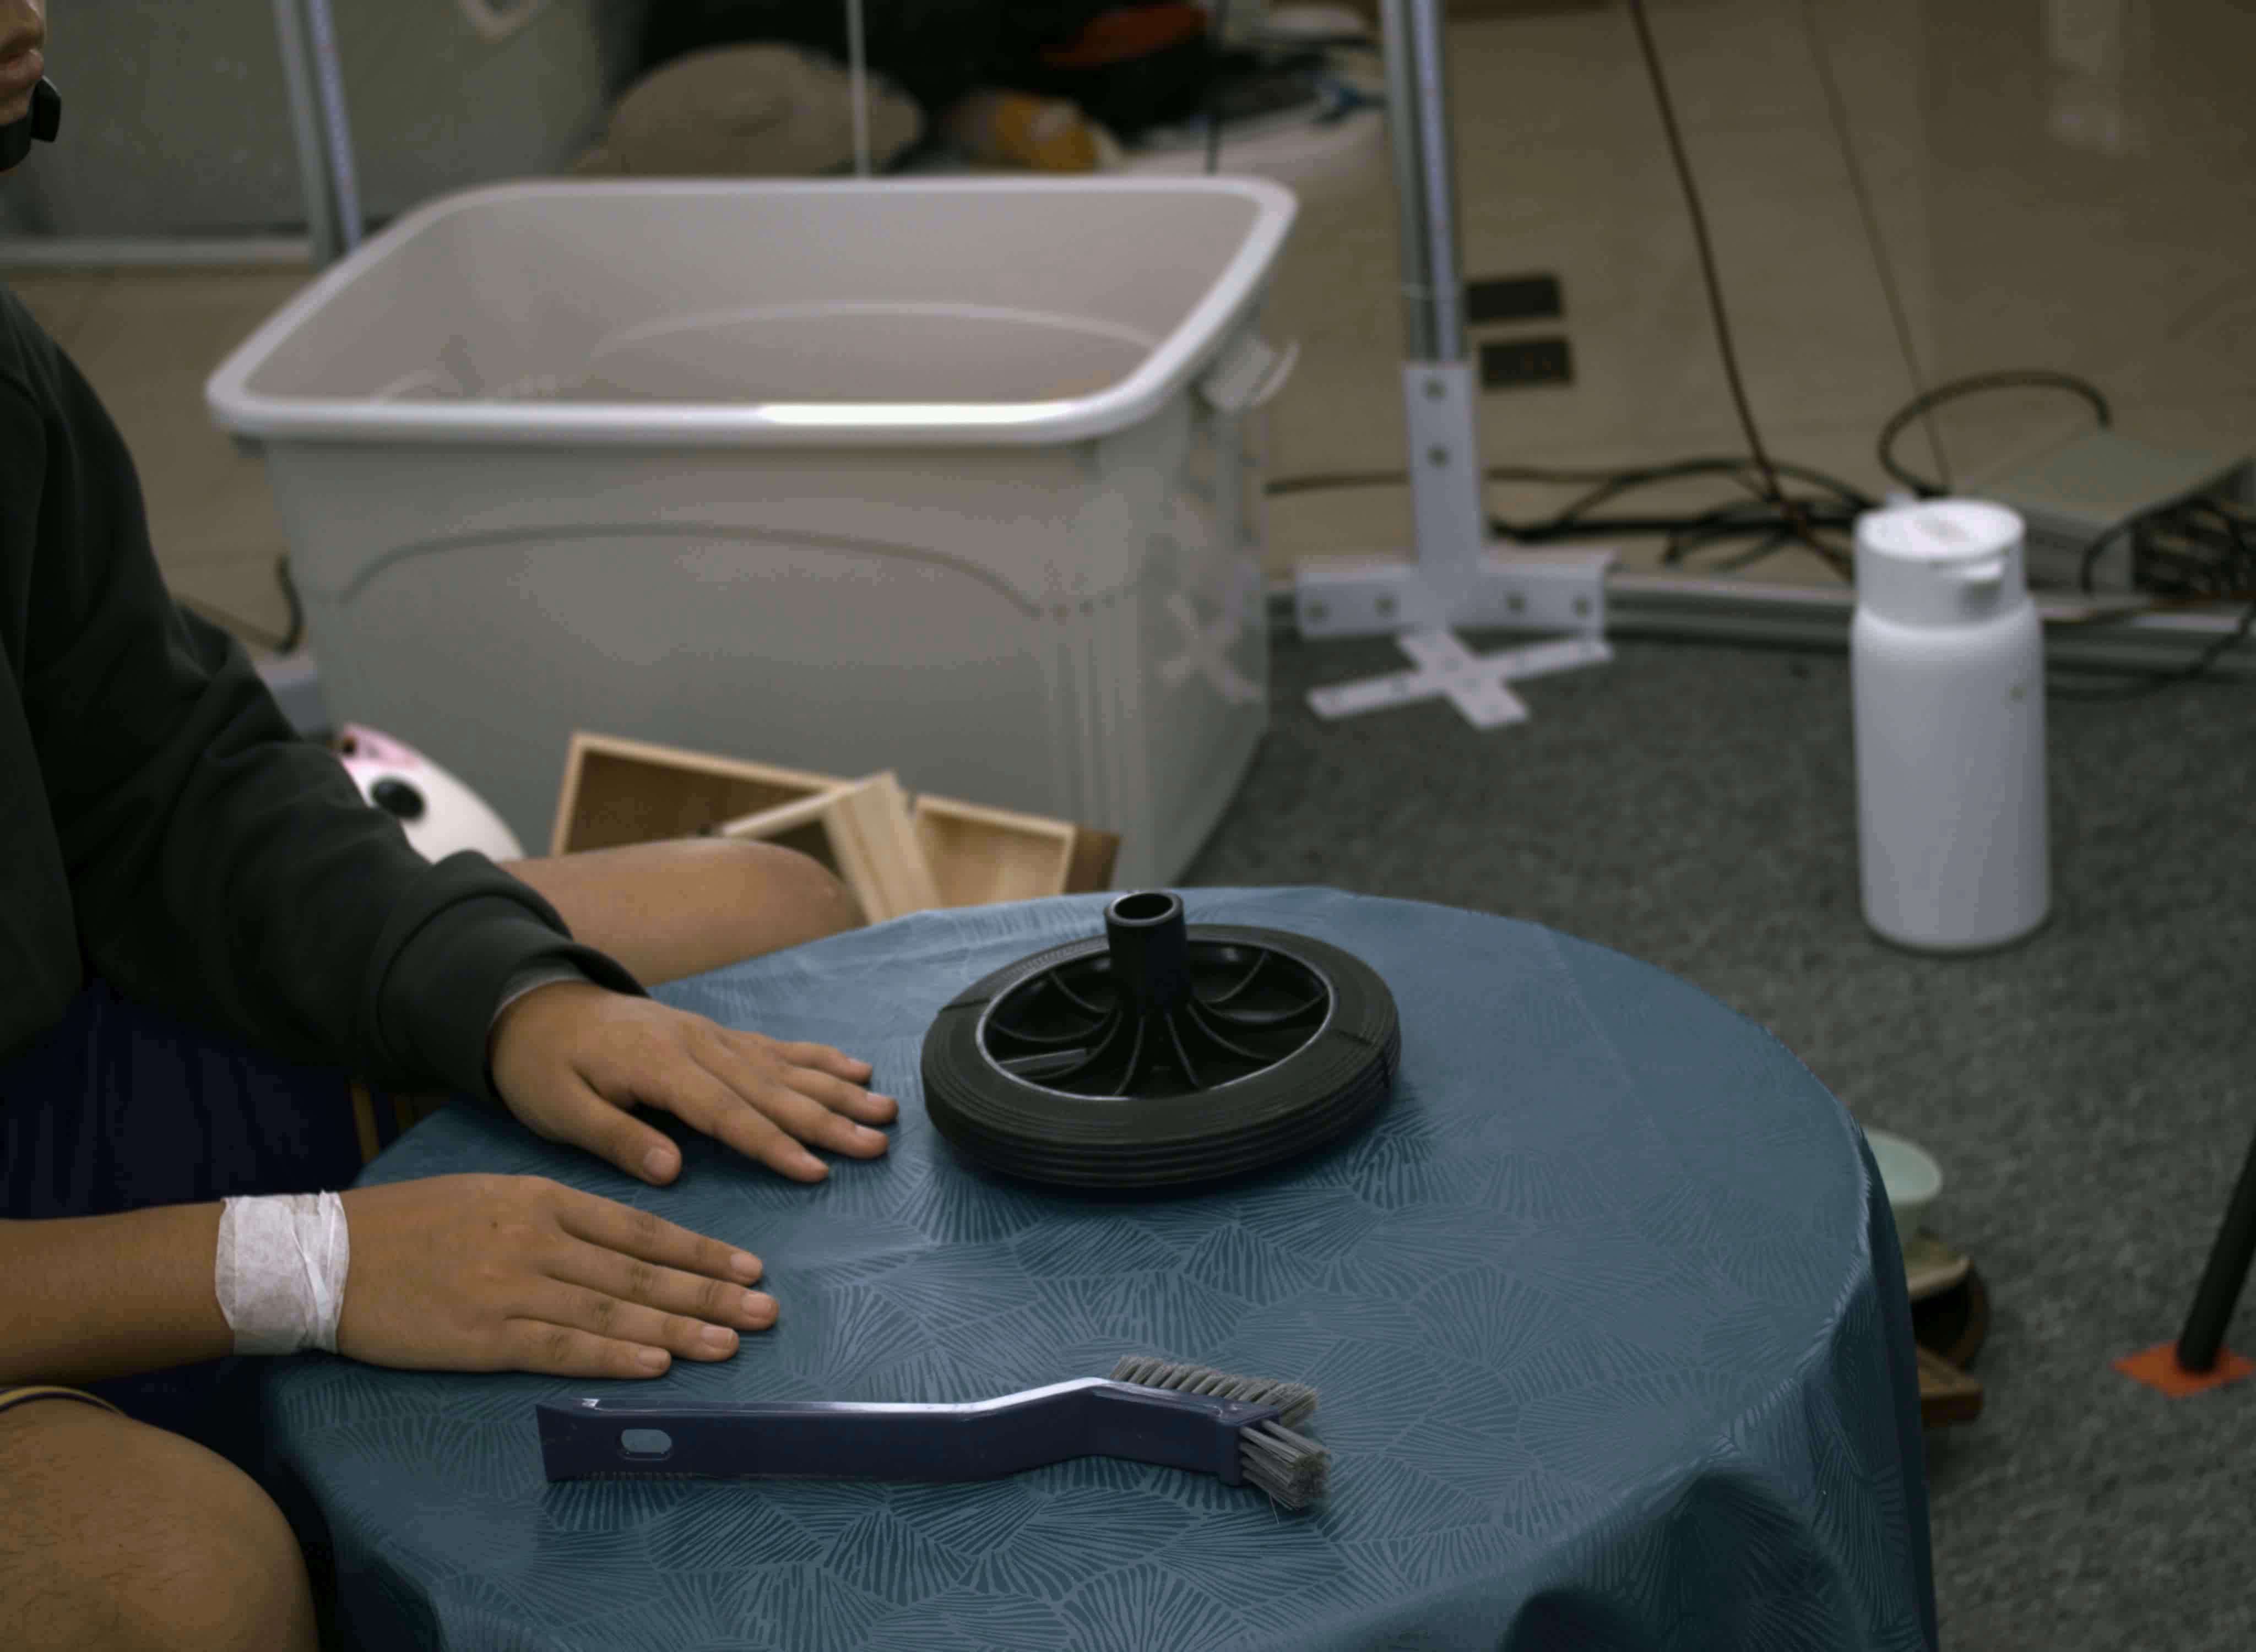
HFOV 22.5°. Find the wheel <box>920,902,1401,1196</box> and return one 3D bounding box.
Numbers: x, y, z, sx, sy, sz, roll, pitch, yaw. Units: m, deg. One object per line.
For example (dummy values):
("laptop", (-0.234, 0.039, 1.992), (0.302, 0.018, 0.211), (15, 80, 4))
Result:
("wheel", (0.010, 0.071, 2.198), (0.188, 0.080, 0.185), (-21, 29, -27))

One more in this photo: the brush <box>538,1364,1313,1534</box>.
("brush", (-0.072, 0.214, 1.965), (0.273, 0.034, 0.094), (-3, 26, 4))
